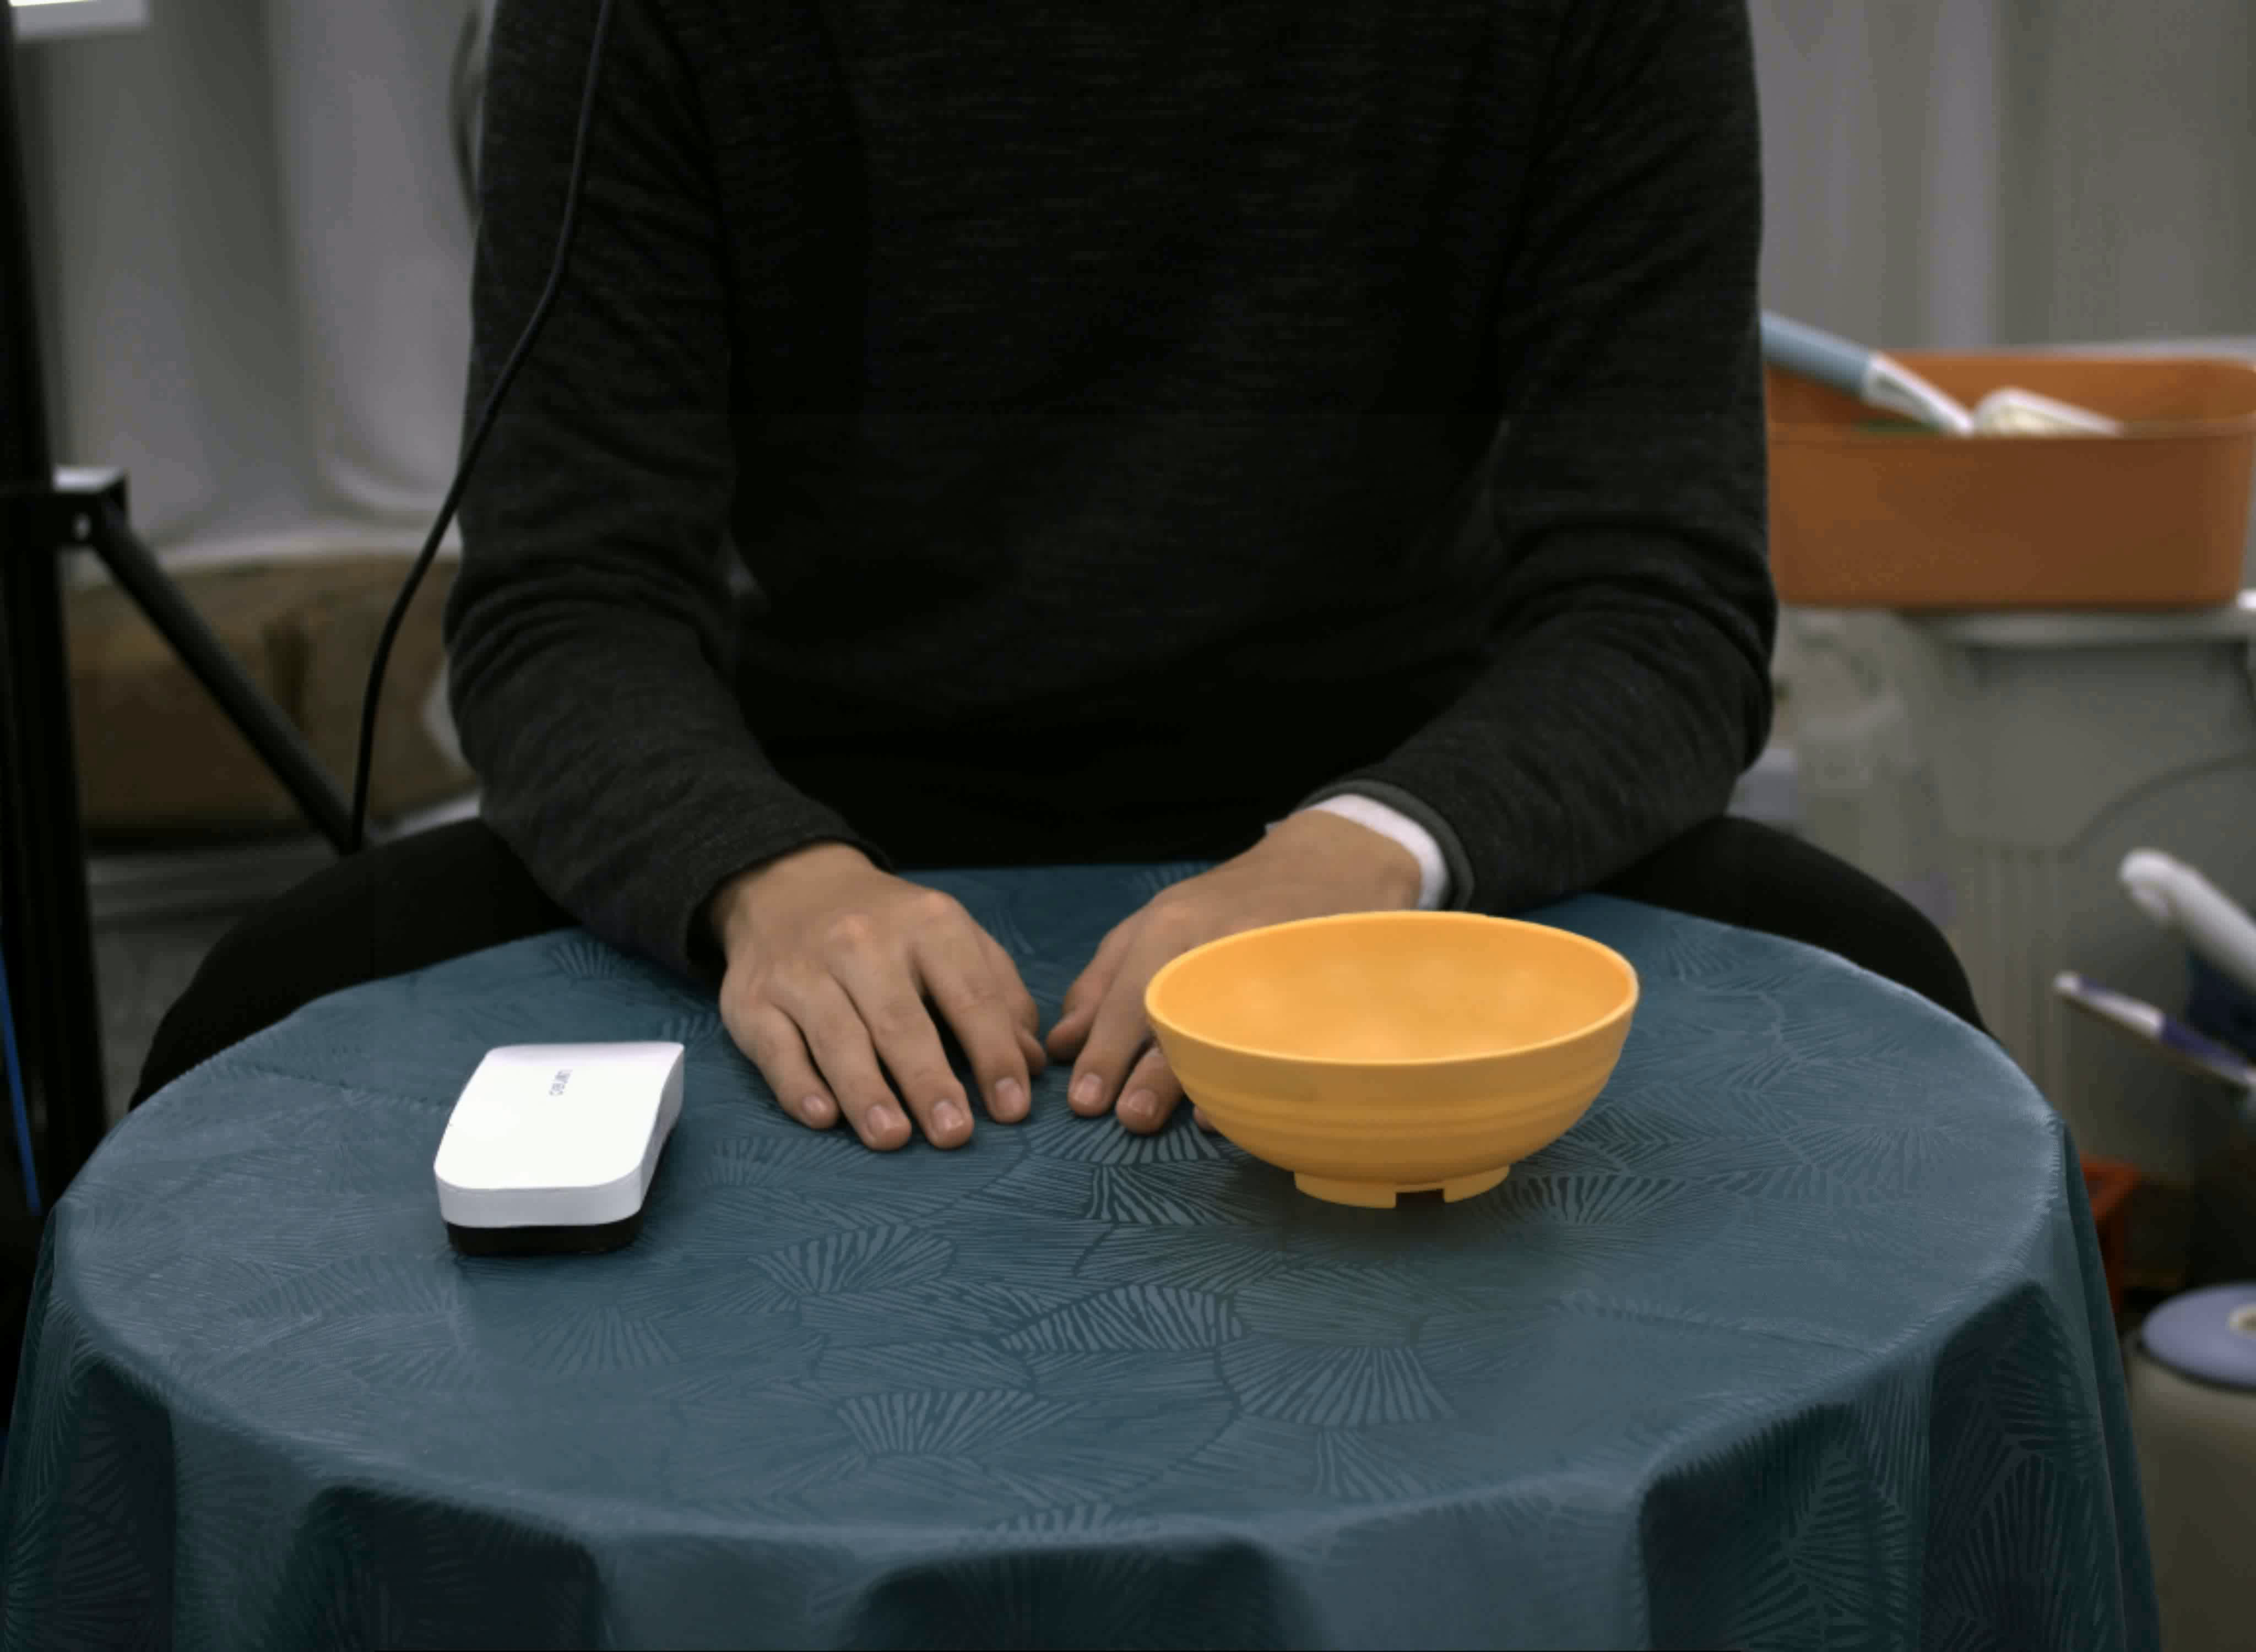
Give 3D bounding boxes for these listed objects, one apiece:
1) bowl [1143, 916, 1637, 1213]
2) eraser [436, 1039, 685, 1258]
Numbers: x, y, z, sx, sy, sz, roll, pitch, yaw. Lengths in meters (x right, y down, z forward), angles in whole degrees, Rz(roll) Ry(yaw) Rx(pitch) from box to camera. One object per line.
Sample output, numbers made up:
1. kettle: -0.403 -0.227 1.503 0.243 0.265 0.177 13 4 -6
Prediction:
1. bowl: 0.077 0.075 1.556 0.144 0.060 0.146 -1 15 -1
2. eraser: -0.166 0.091 1.587 0.063 0.034 0.131 -1 17 4
